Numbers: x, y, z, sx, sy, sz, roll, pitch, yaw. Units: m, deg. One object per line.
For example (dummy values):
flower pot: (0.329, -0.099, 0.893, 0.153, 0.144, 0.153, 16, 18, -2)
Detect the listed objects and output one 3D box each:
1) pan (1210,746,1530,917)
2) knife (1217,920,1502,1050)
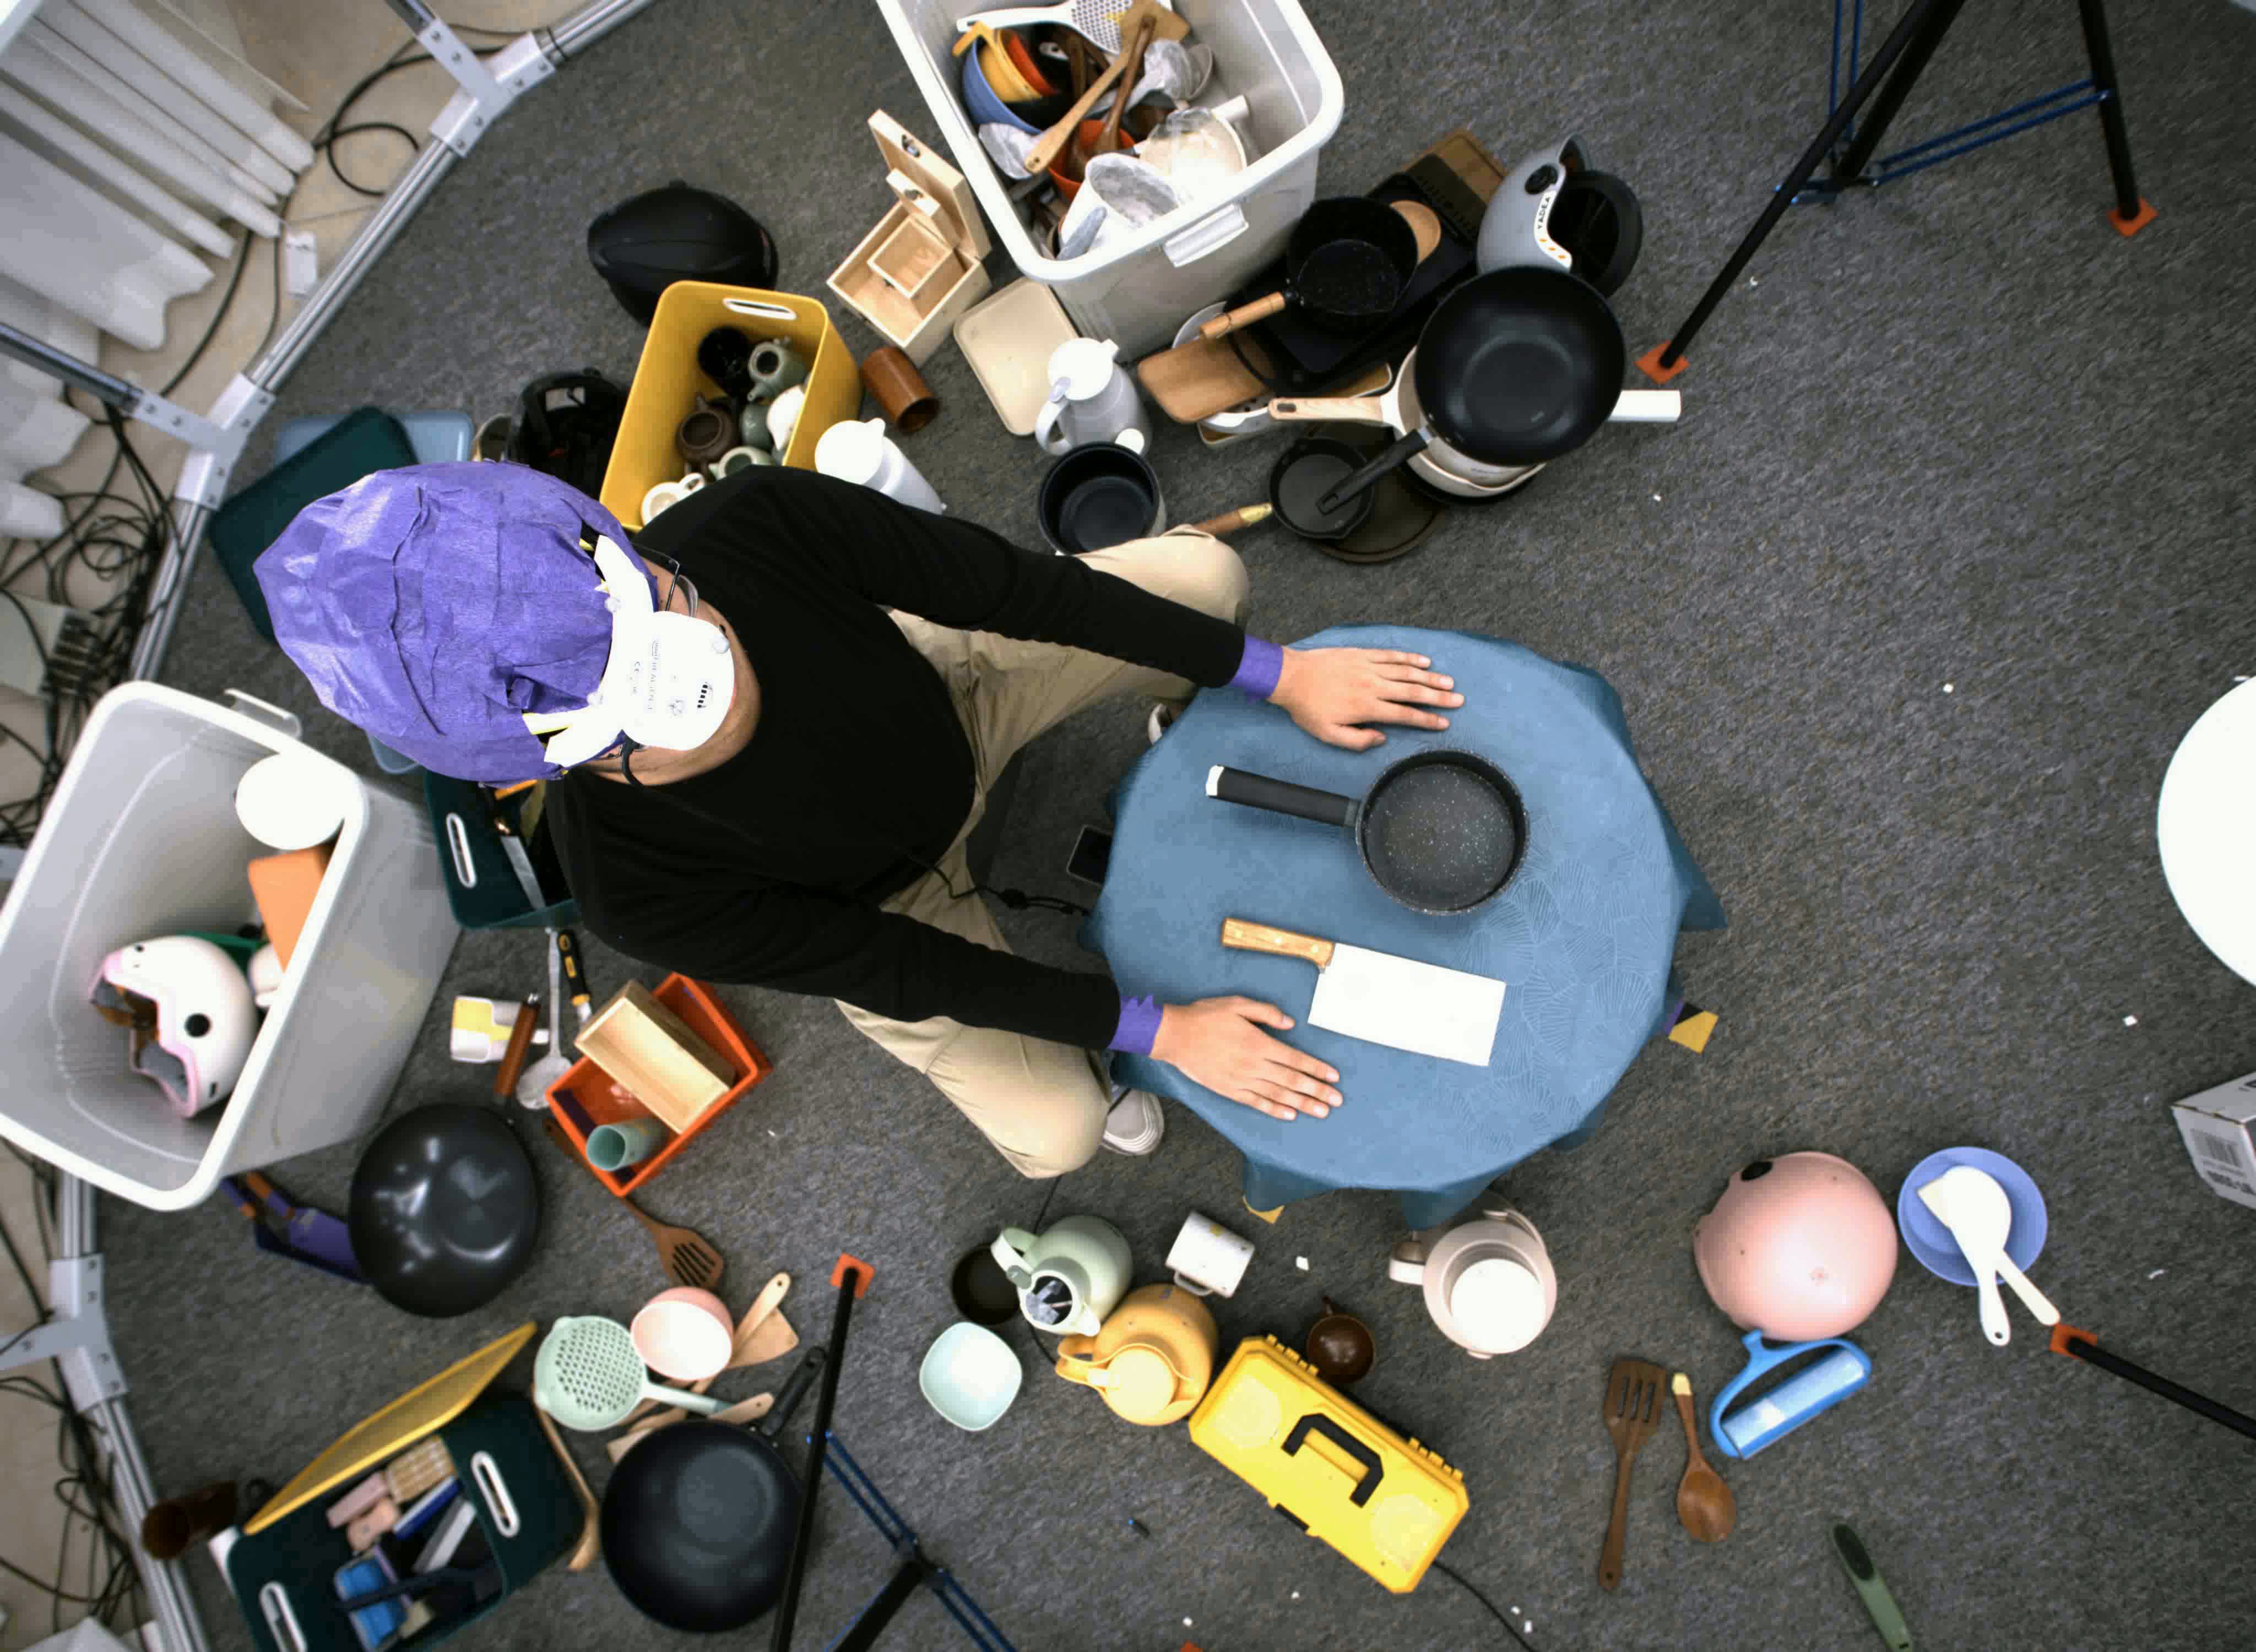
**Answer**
pan: (0.246, -0.013, 1.428, 0.329, 0.086, 0.172, 15, 89, 11)
knife: (0.237, 0.169, 1.455, 0.306, 0.021, 0.093, 13, 91, 9)
